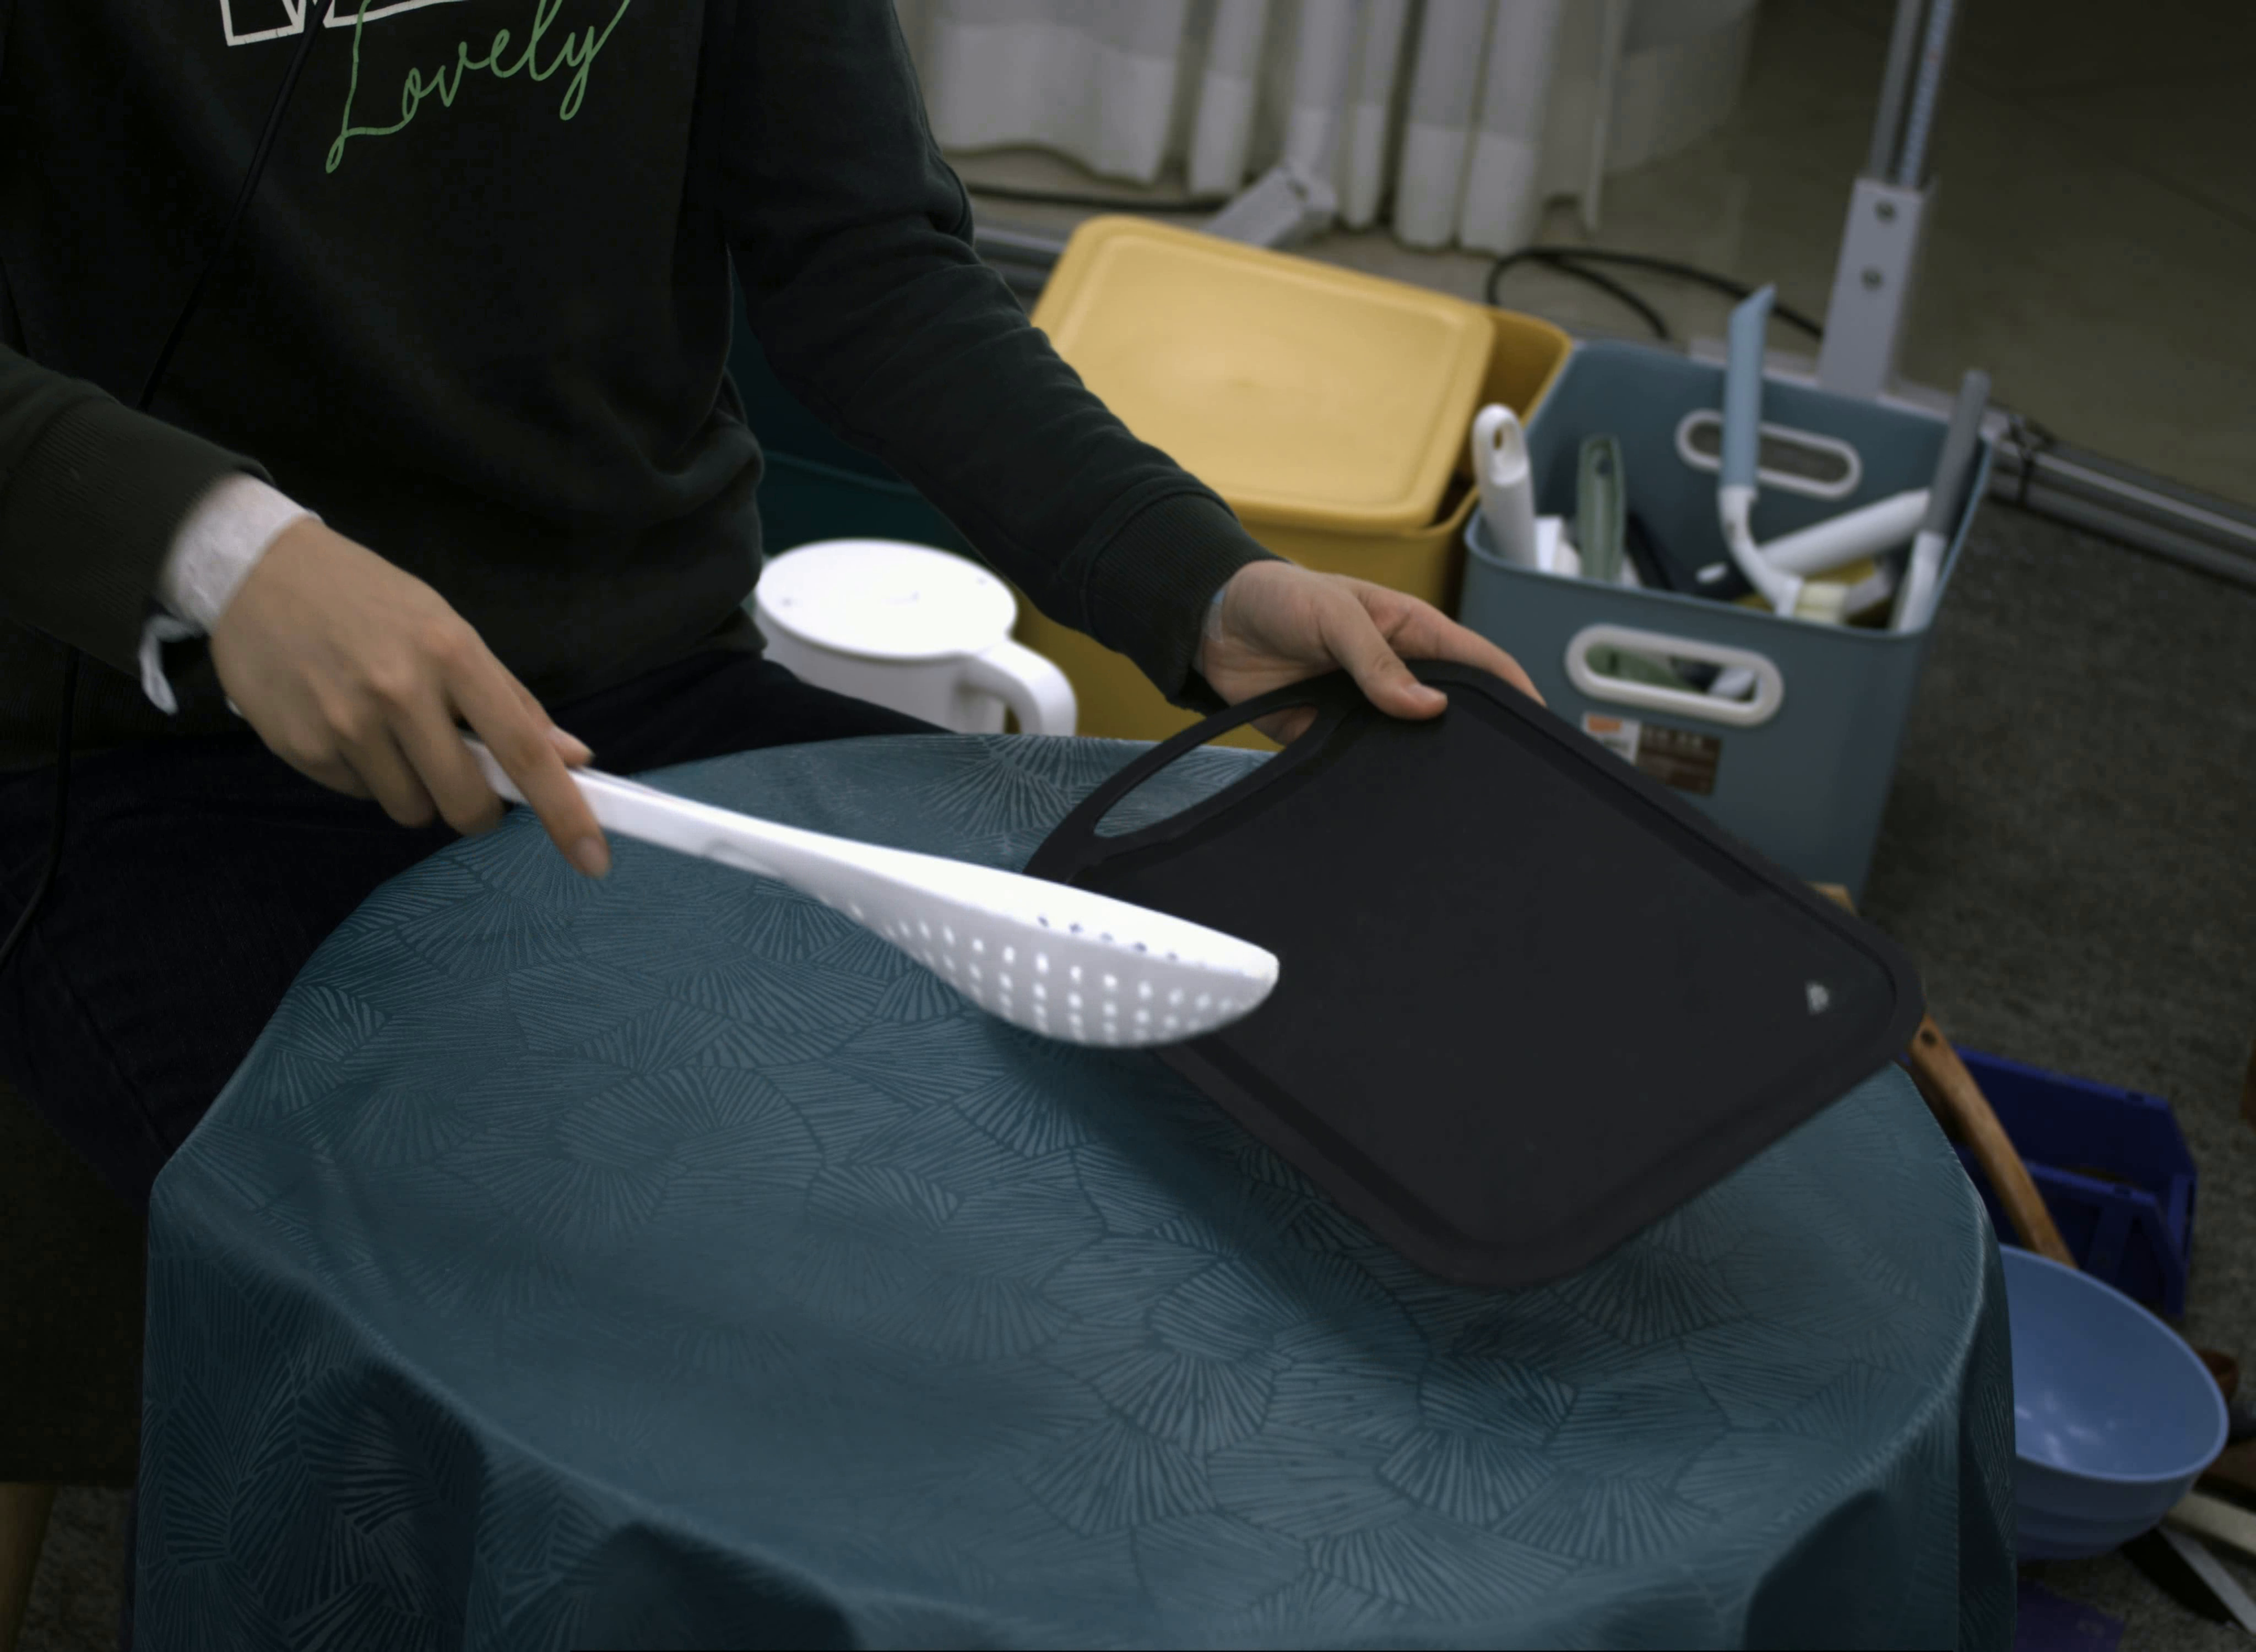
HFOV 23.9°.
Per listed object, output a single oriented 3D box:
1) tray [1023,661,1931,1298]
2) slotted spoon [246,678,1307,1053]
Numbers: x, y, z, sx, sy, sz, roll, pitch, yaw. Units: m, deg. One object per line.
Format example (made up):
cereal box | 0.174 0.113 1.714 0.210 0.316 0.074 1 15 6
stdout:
tray | 0.108 0.041 1.829 0.210 0.010 0.328 -31 42 -20
slotted spoon | -0.114 0.007 1.666 0.350 0.046 0.136 21 6 11
